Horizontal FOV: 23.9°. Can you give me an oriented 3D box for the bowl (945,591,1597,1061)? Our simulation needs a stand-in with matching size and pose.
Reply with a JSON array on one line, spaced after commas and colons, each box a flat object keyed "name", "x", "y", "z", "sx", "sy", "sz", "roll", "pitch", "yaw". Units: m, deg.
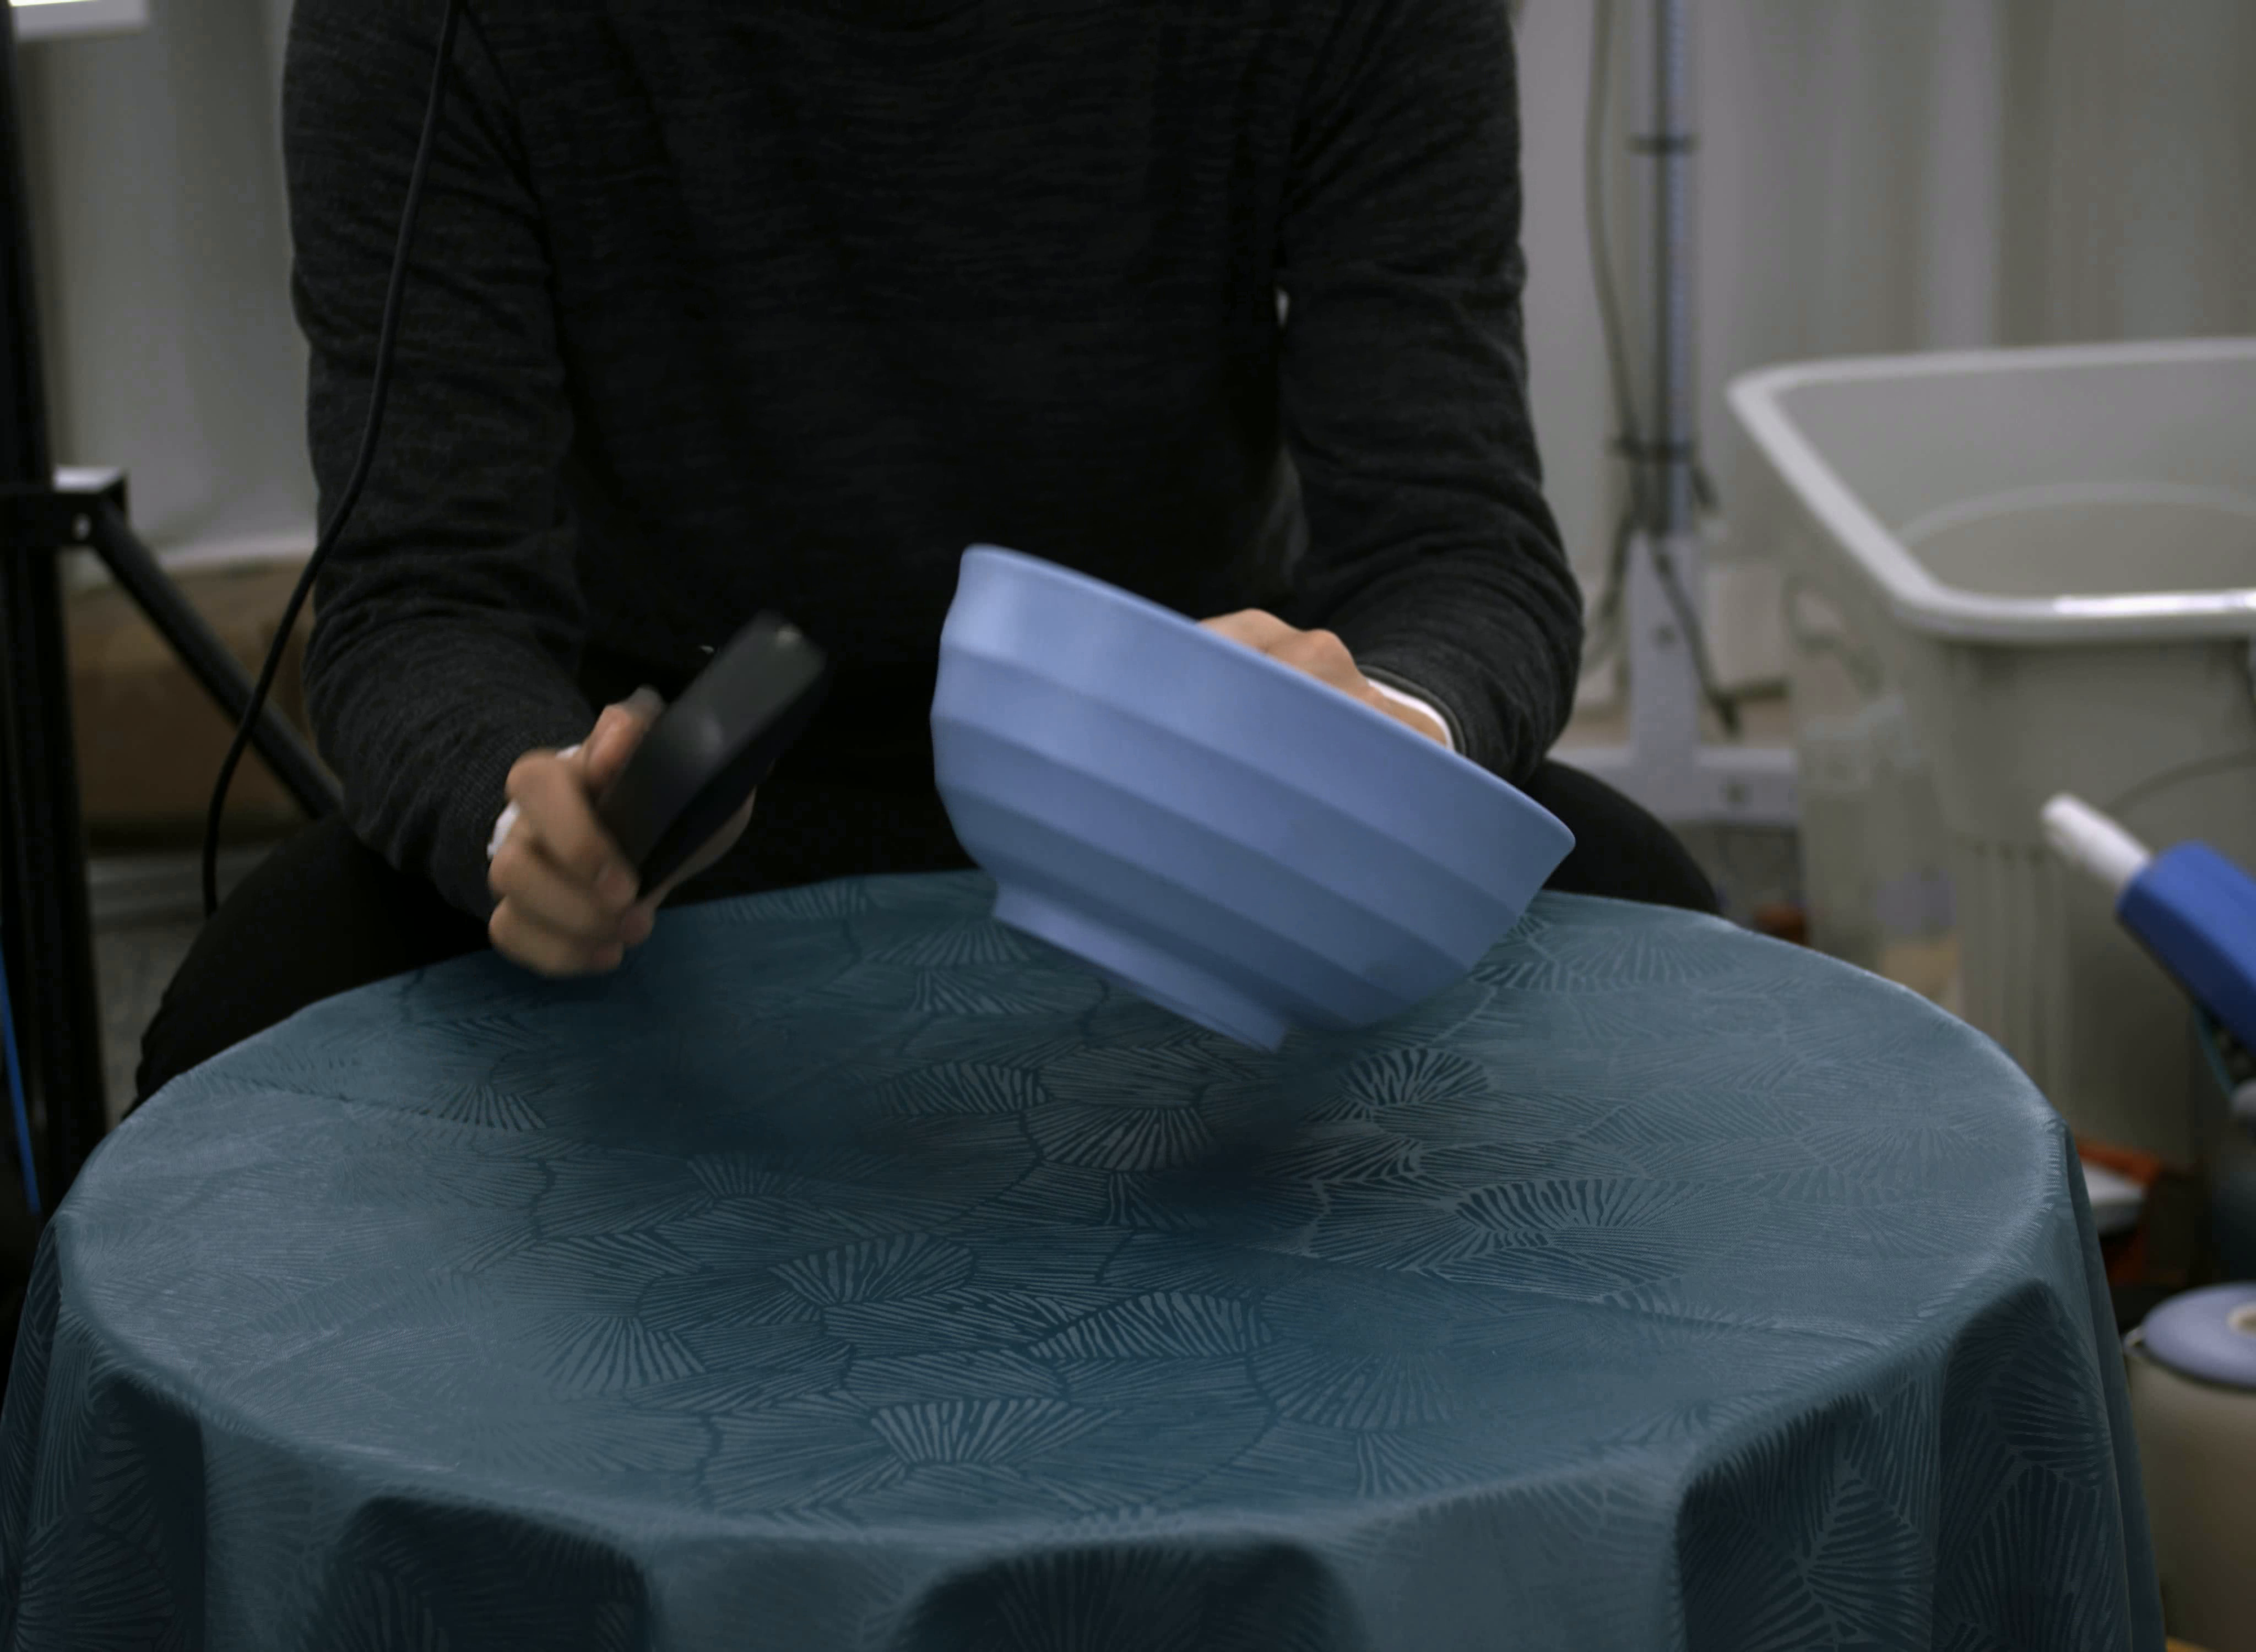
[{"name": "bowl", "x": 0.029, "y": 0.009, "z": 1.540, "sx": 0.196, "sy": 0.096, "sz": 0.196, "roll": 19, "pitch": -3, "yaw": 0}]

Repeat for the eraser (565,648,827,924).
[{"name": "eraser", "x": -0.127, "y": -0.011, "z": 1.561, "sx": 0.053, "sy": 0.030, "sz": 0.126, "roll": -40, "pitch": -2, "yaw": -24}]
